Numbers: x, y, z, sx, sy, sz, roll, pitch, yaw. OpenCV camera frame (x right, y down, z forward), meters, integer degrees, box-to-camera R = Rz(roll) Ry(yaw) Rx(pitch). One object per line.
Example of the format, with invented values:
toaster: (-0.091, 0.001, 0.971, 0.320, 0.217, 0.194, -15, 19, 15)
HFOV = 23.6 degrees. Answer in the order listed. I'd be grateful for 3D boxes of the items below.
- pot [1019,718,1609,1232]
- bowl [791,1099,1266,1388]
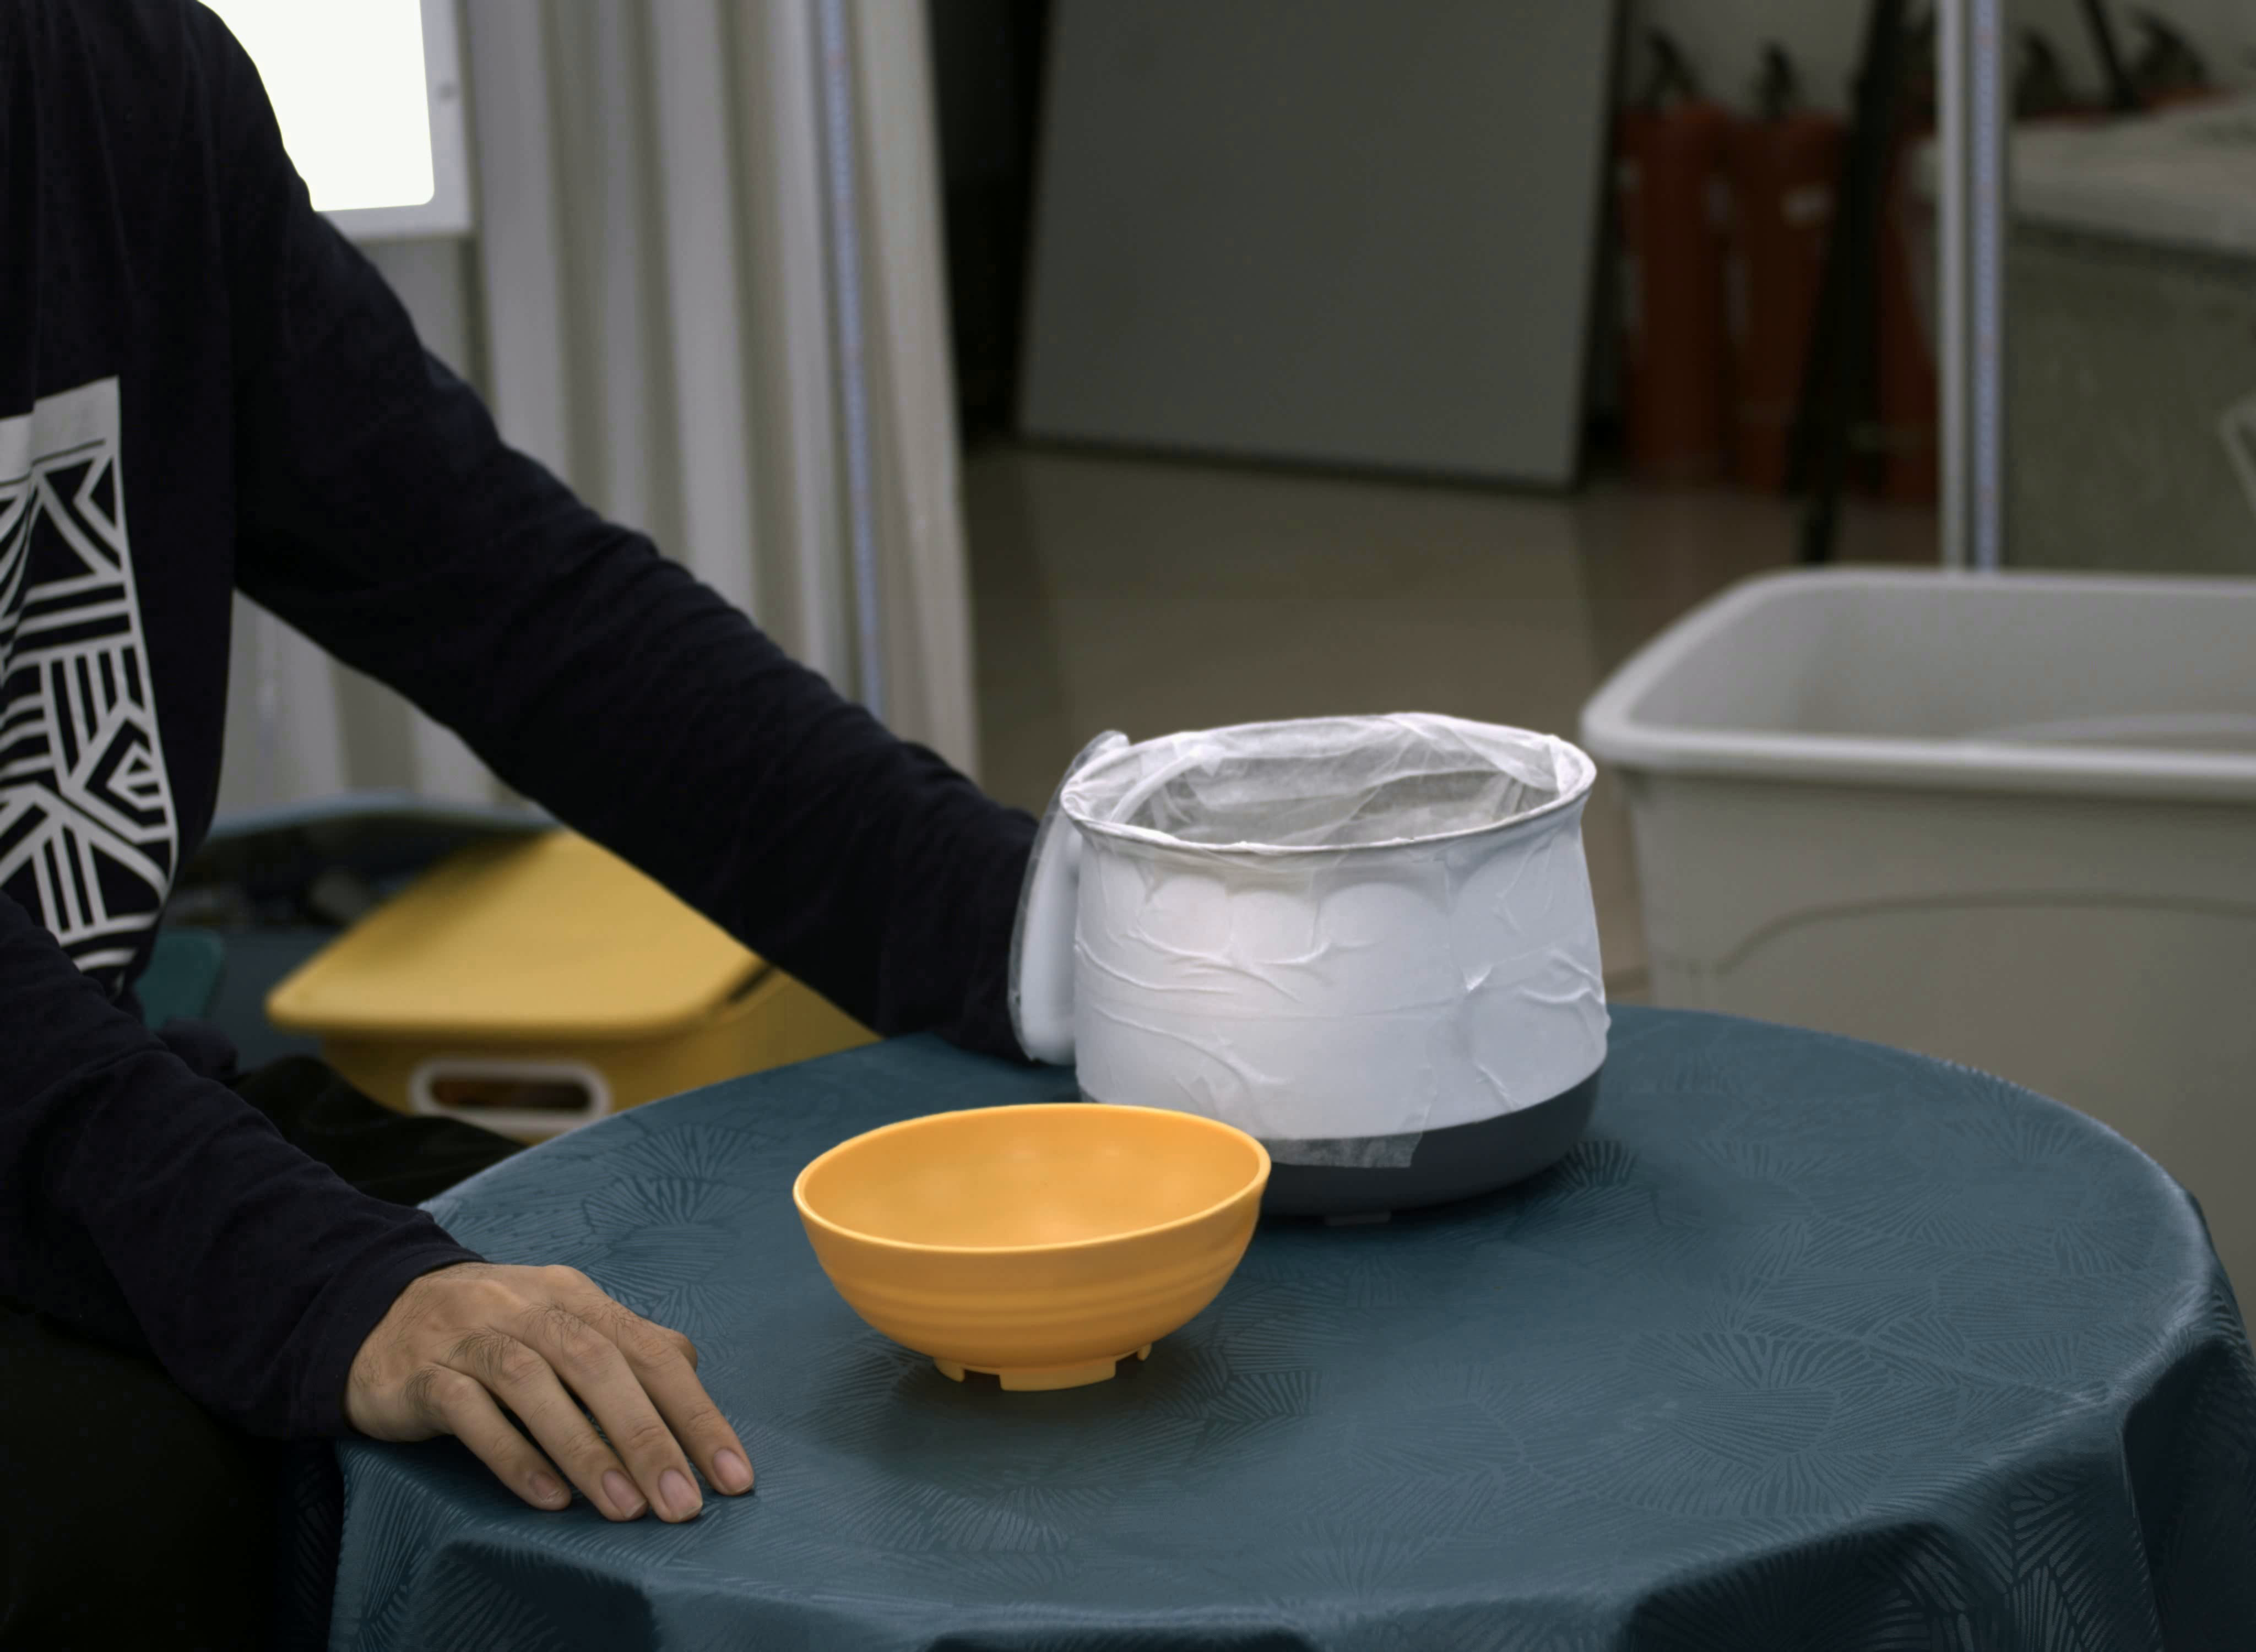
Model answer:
pot: (0.049, 0.045, 1.795, 0.236, 0.138, 0.175, 7, 17, 44)
bowl: (-0.029, 0.129, 1.616, 0.143, 0.061, 0.145, -2, 14, 0)
